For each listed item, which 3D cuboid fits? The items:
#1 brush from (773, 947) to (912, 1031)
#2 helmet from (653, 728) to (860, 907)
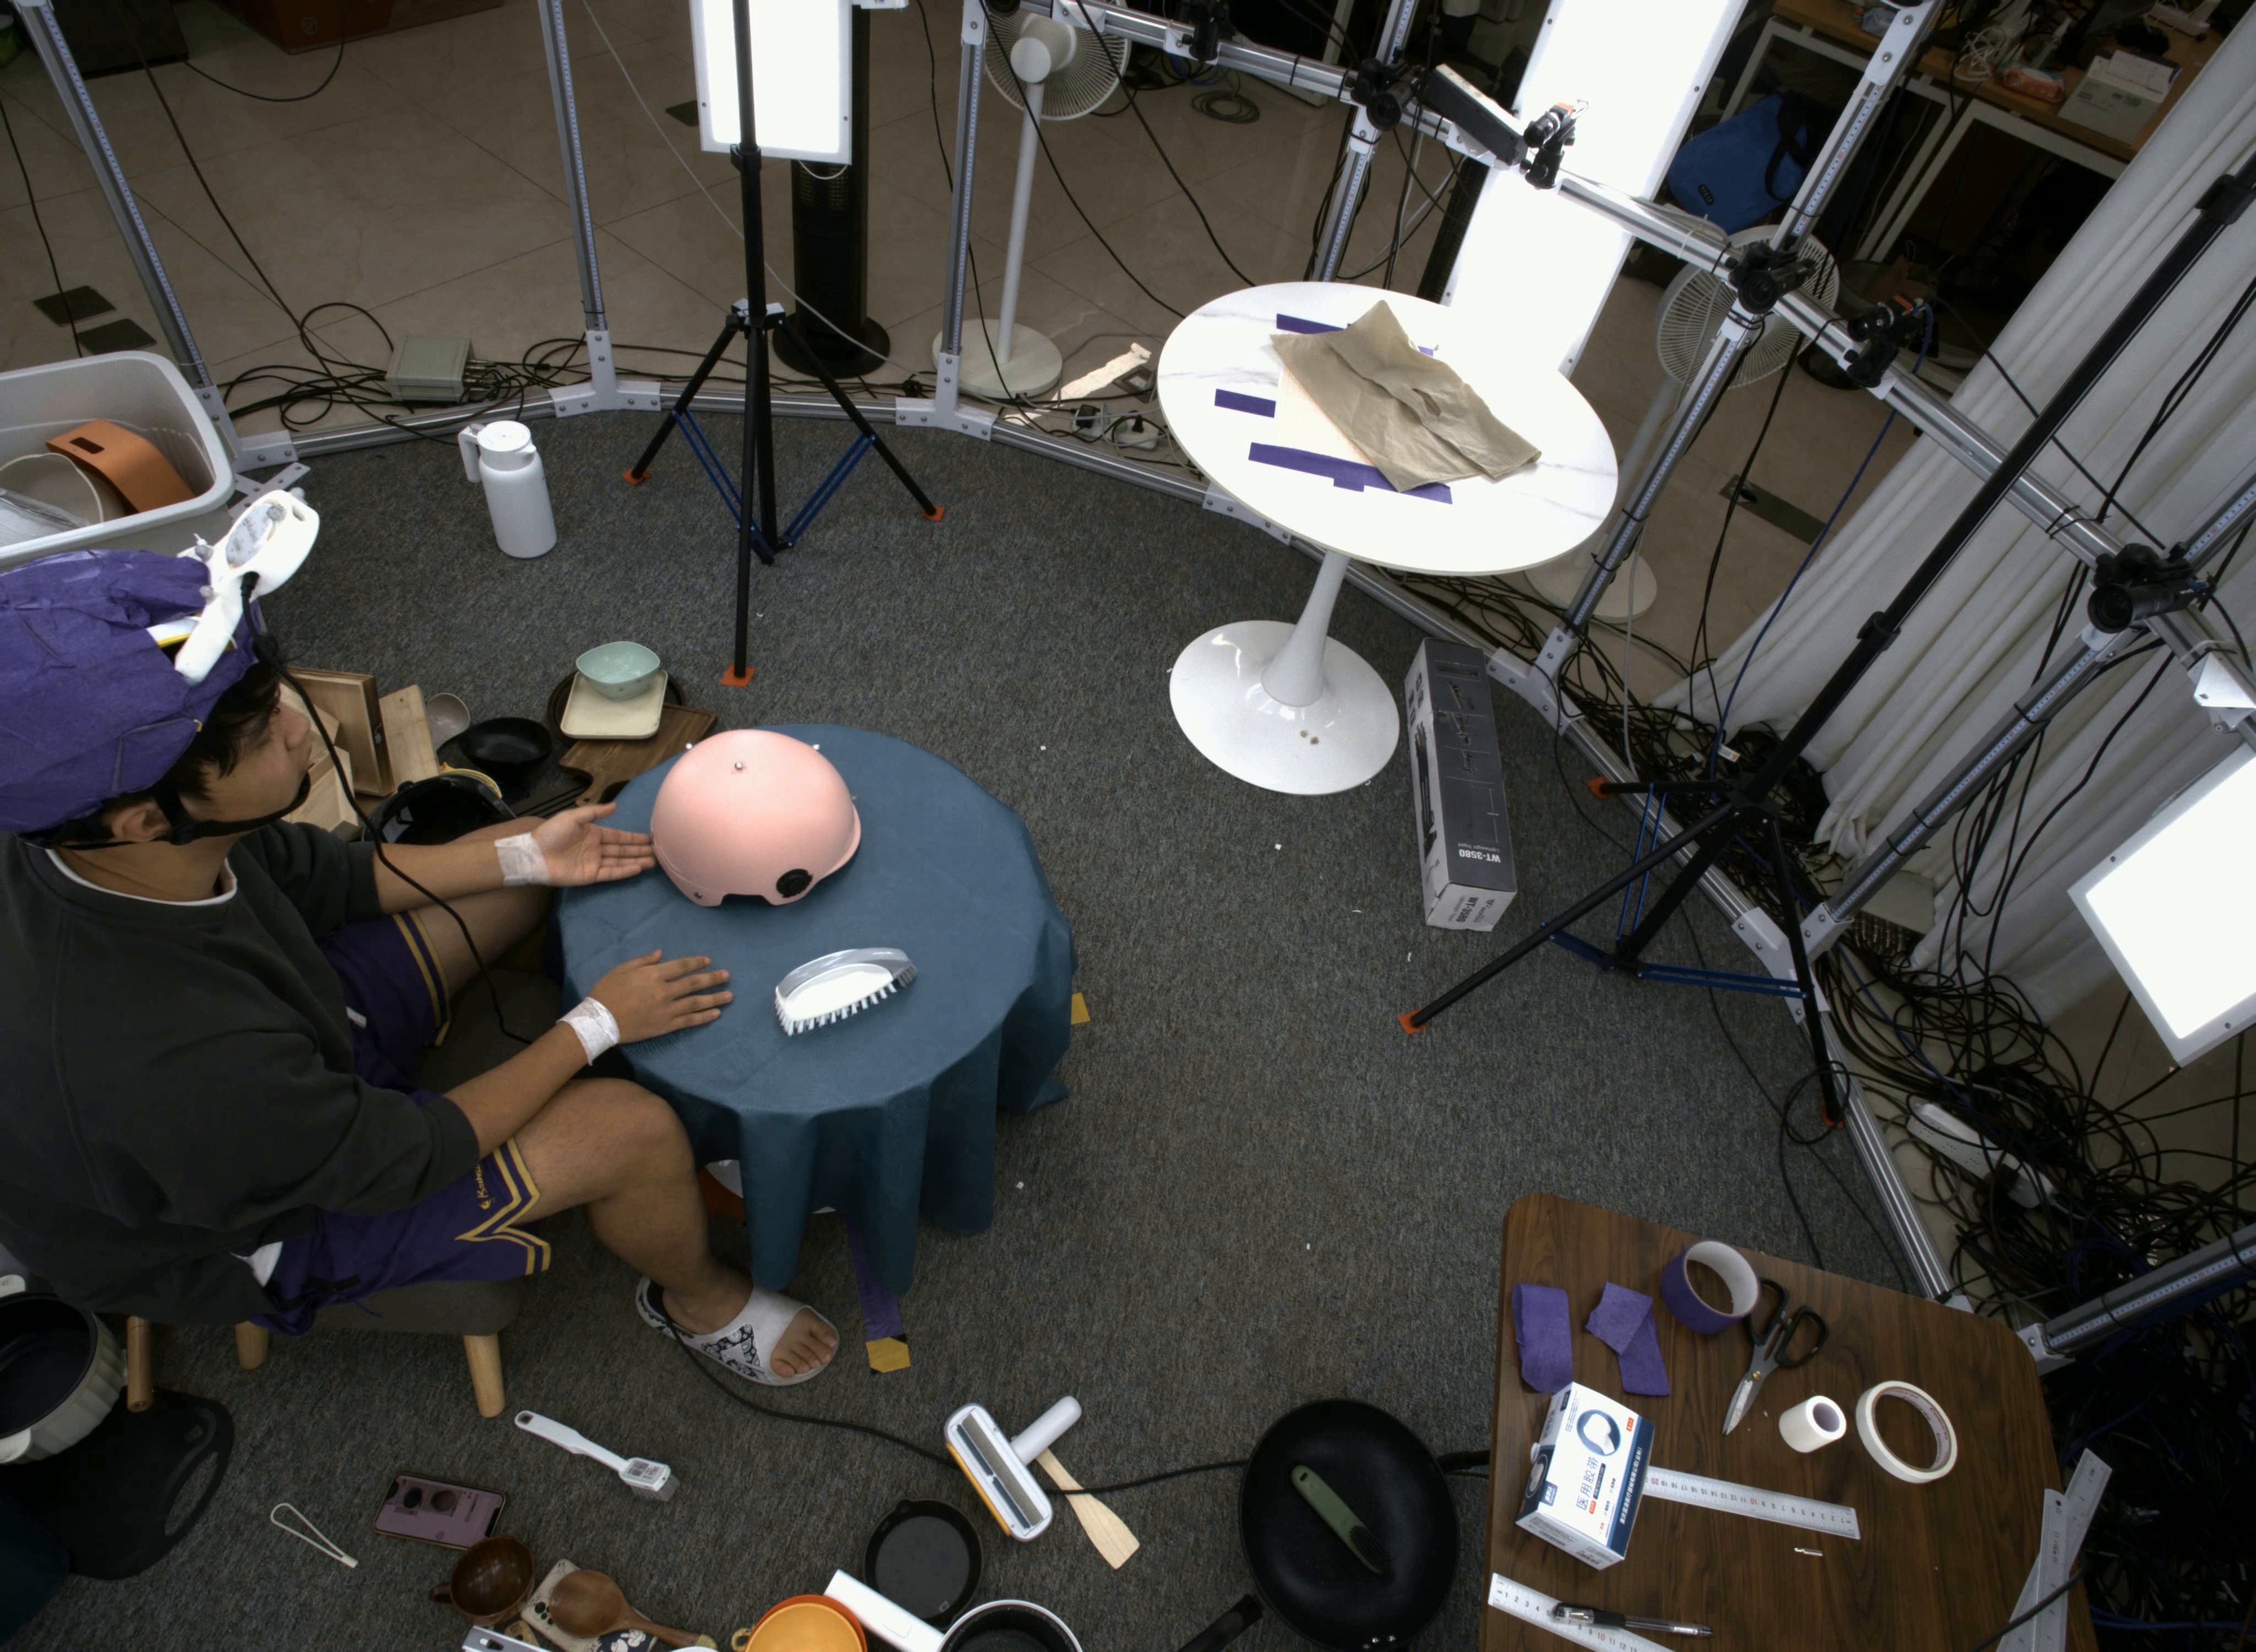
[{"bbox_3d":[-0.339,0.177,1.560,0.176,0.096,0.060,-17,59,-26],"label":"brush"},{"bbox_3d":[-0.470,-0.032,1.643,0.268,0.162,0.228,-9,55,-24],"label":"helmet"}]
